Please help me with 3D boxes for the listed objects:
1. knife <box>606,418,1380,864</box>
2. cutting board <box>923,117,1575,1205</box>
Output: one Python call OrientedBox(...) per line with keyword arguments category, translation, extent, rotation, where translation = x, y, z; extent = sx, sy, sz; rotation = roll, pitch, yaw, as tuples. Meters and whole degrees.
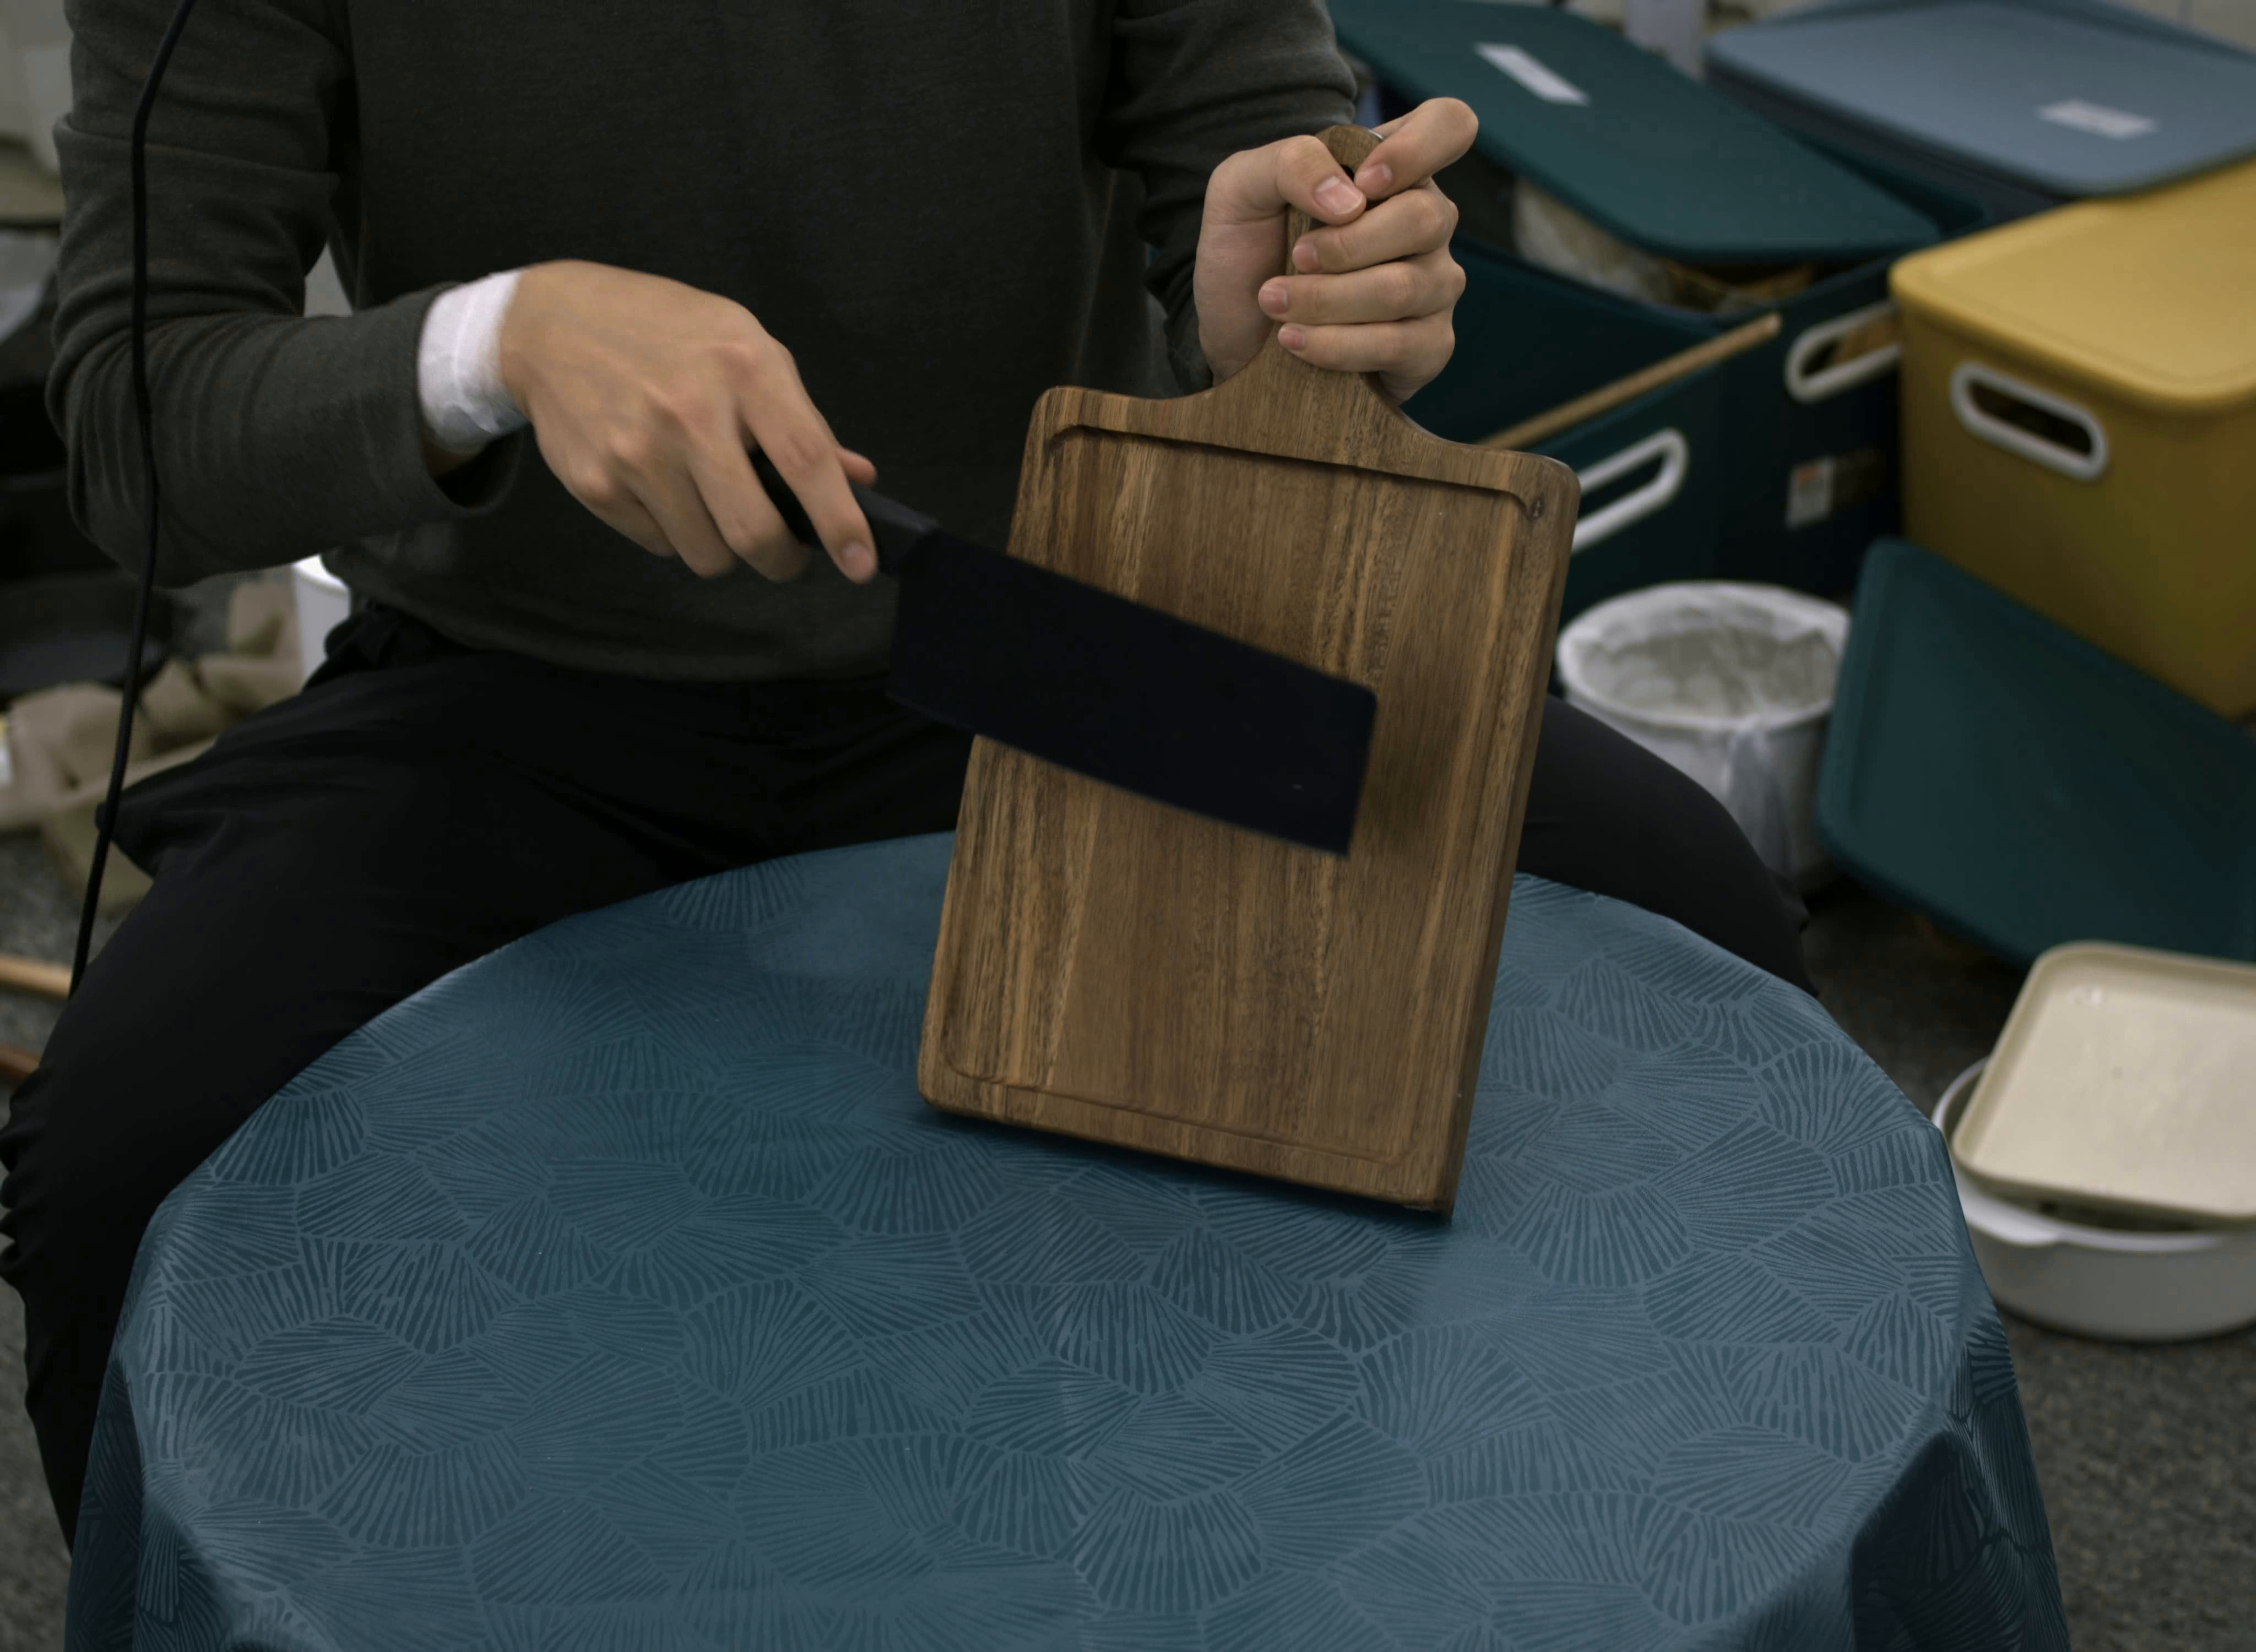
OrientedBox(category="knife", translation=(-0.049, -0.066, 1.864), extent=(0.302, 0.080, 0.021), rotation=(26, 26, 23))
OrientedBox(category="cutting board", translation=(0.046, -0.061, 1.878), extent=(0.200, 0.354, 0.023), rotation=(8, -3, 23))
